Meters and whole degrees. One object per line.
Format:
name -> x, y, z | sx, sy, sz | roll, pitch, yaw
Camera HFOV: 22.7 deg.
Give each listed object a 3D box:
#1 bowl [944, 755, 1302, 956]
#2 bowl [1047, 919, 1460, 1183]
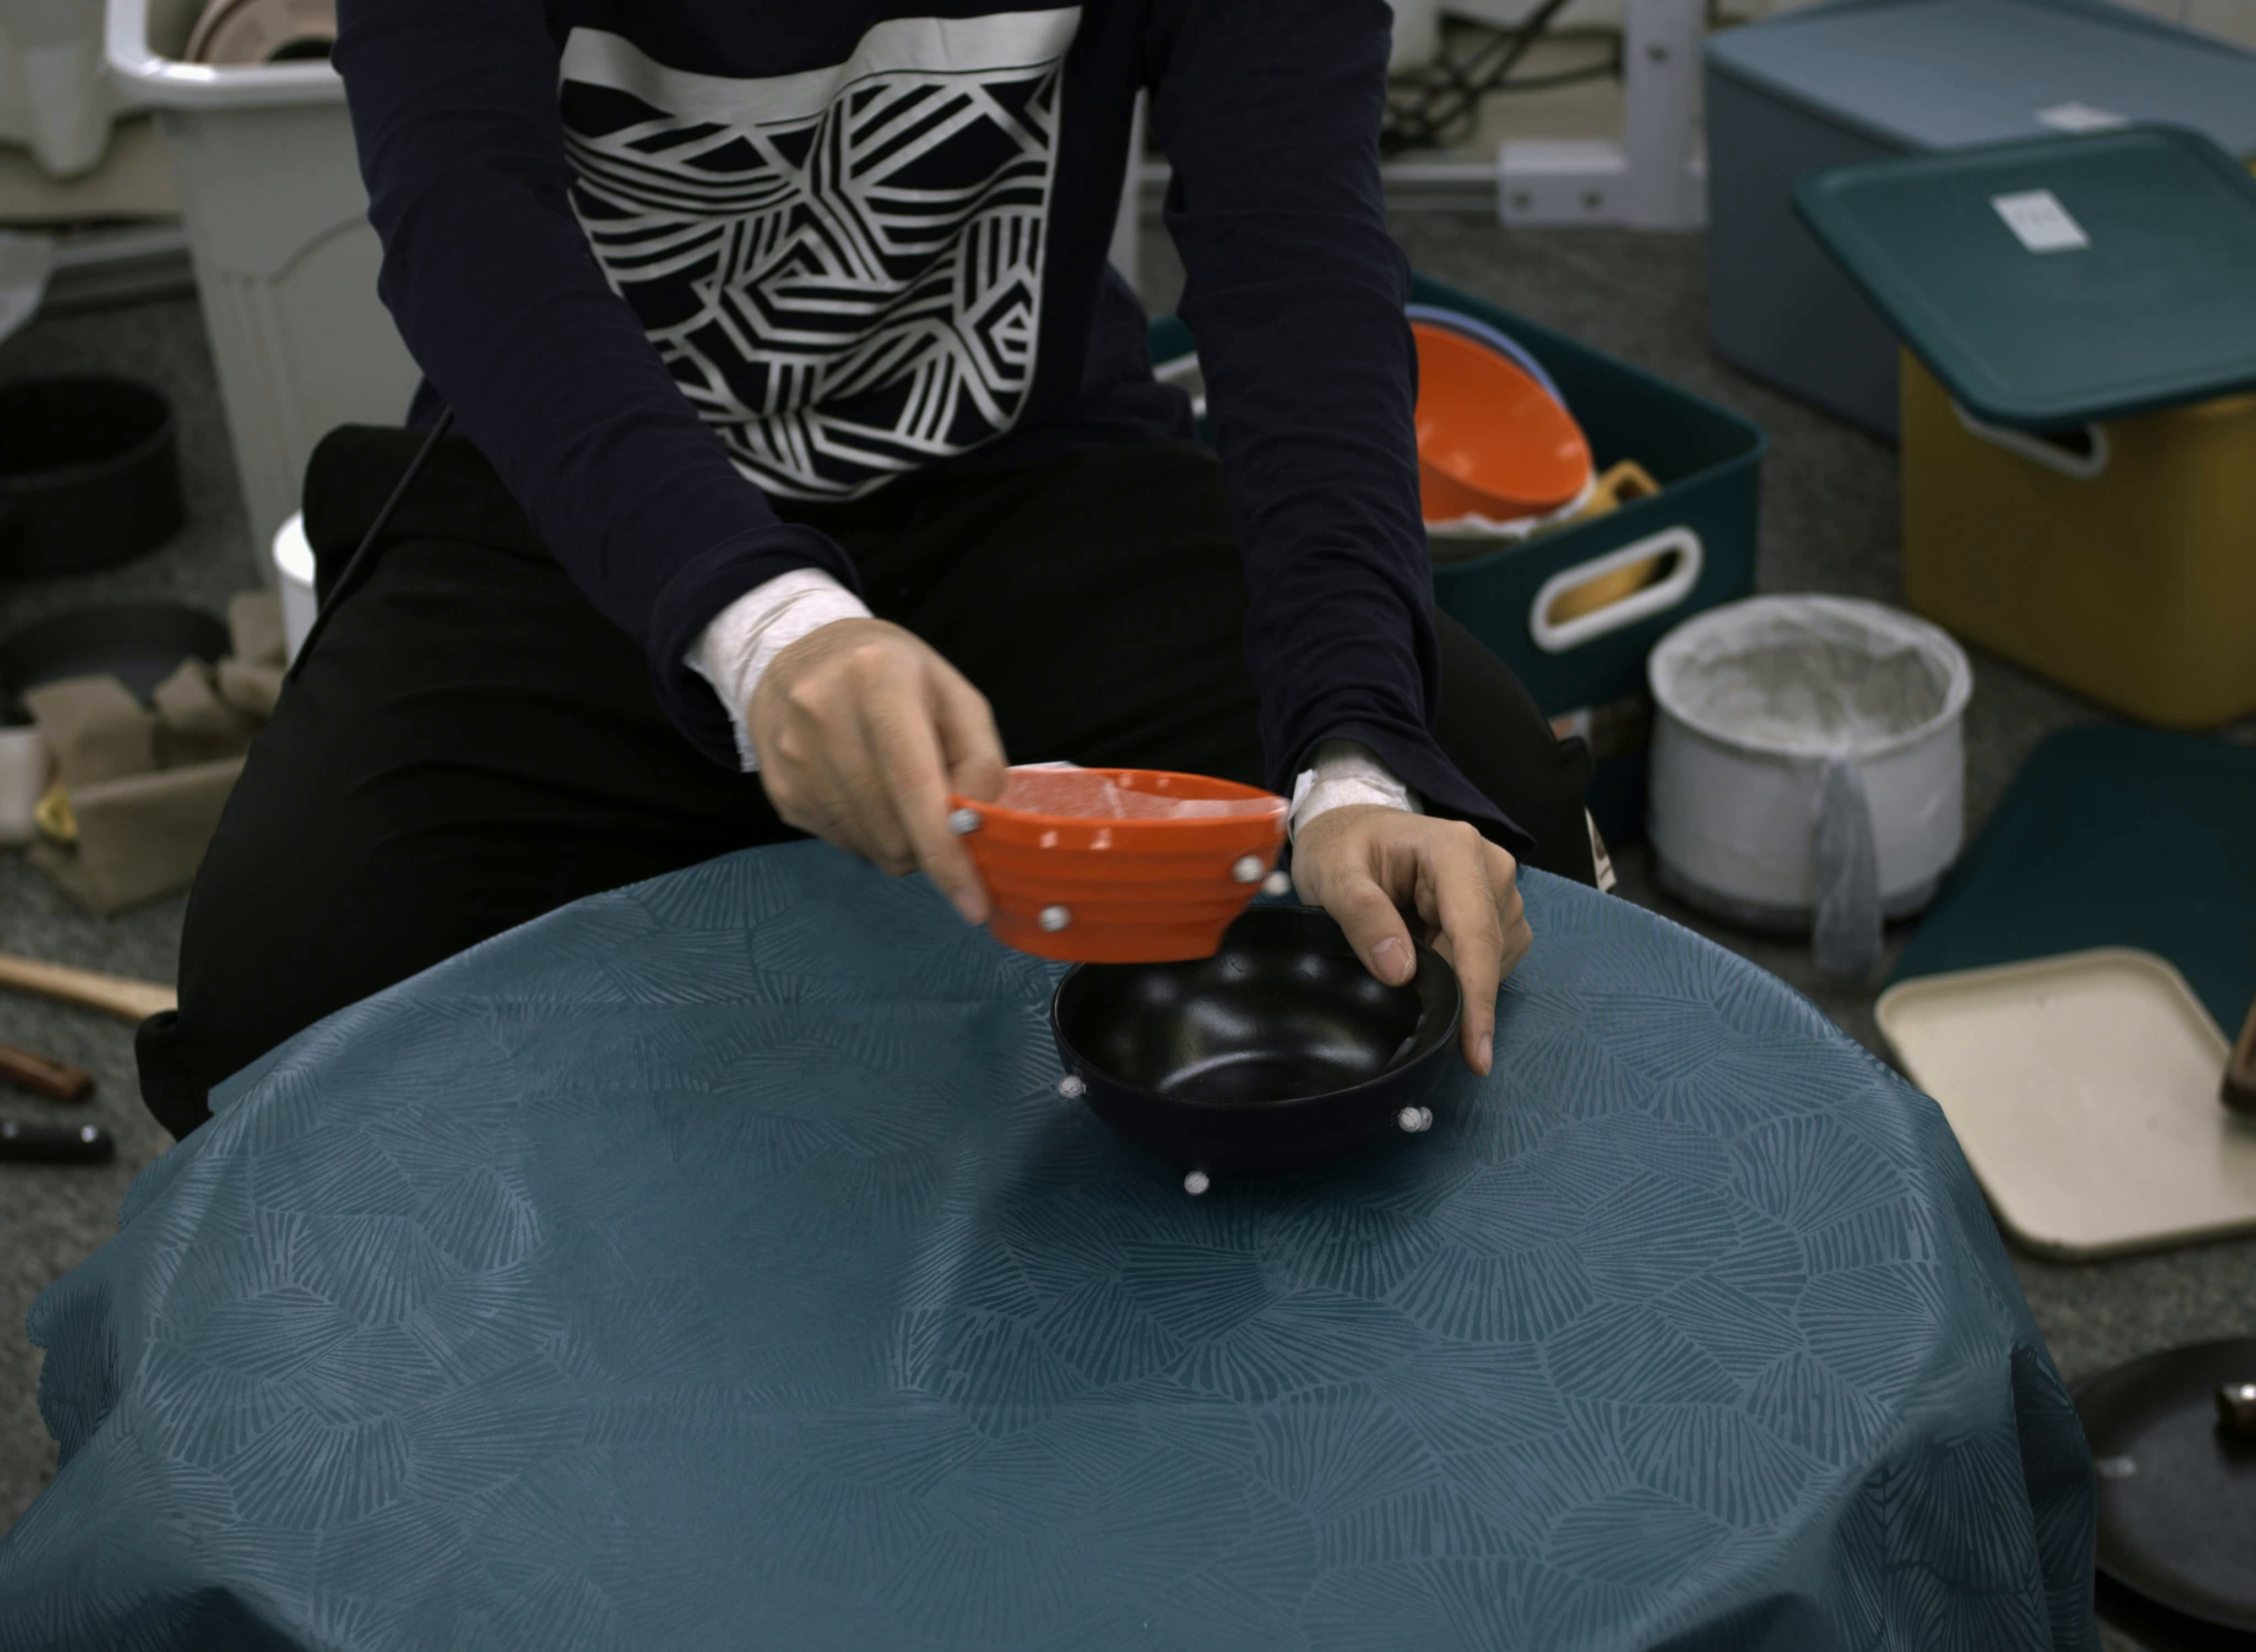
bowl -> -0.003, 0.010, 1.818 | 0.118, 0.051, 0.119 | 3, 10, 0
bowl -> 0.043, 0.082, 1.886 | 0.139, 0.049, 0.142 | -3, 23, 1
